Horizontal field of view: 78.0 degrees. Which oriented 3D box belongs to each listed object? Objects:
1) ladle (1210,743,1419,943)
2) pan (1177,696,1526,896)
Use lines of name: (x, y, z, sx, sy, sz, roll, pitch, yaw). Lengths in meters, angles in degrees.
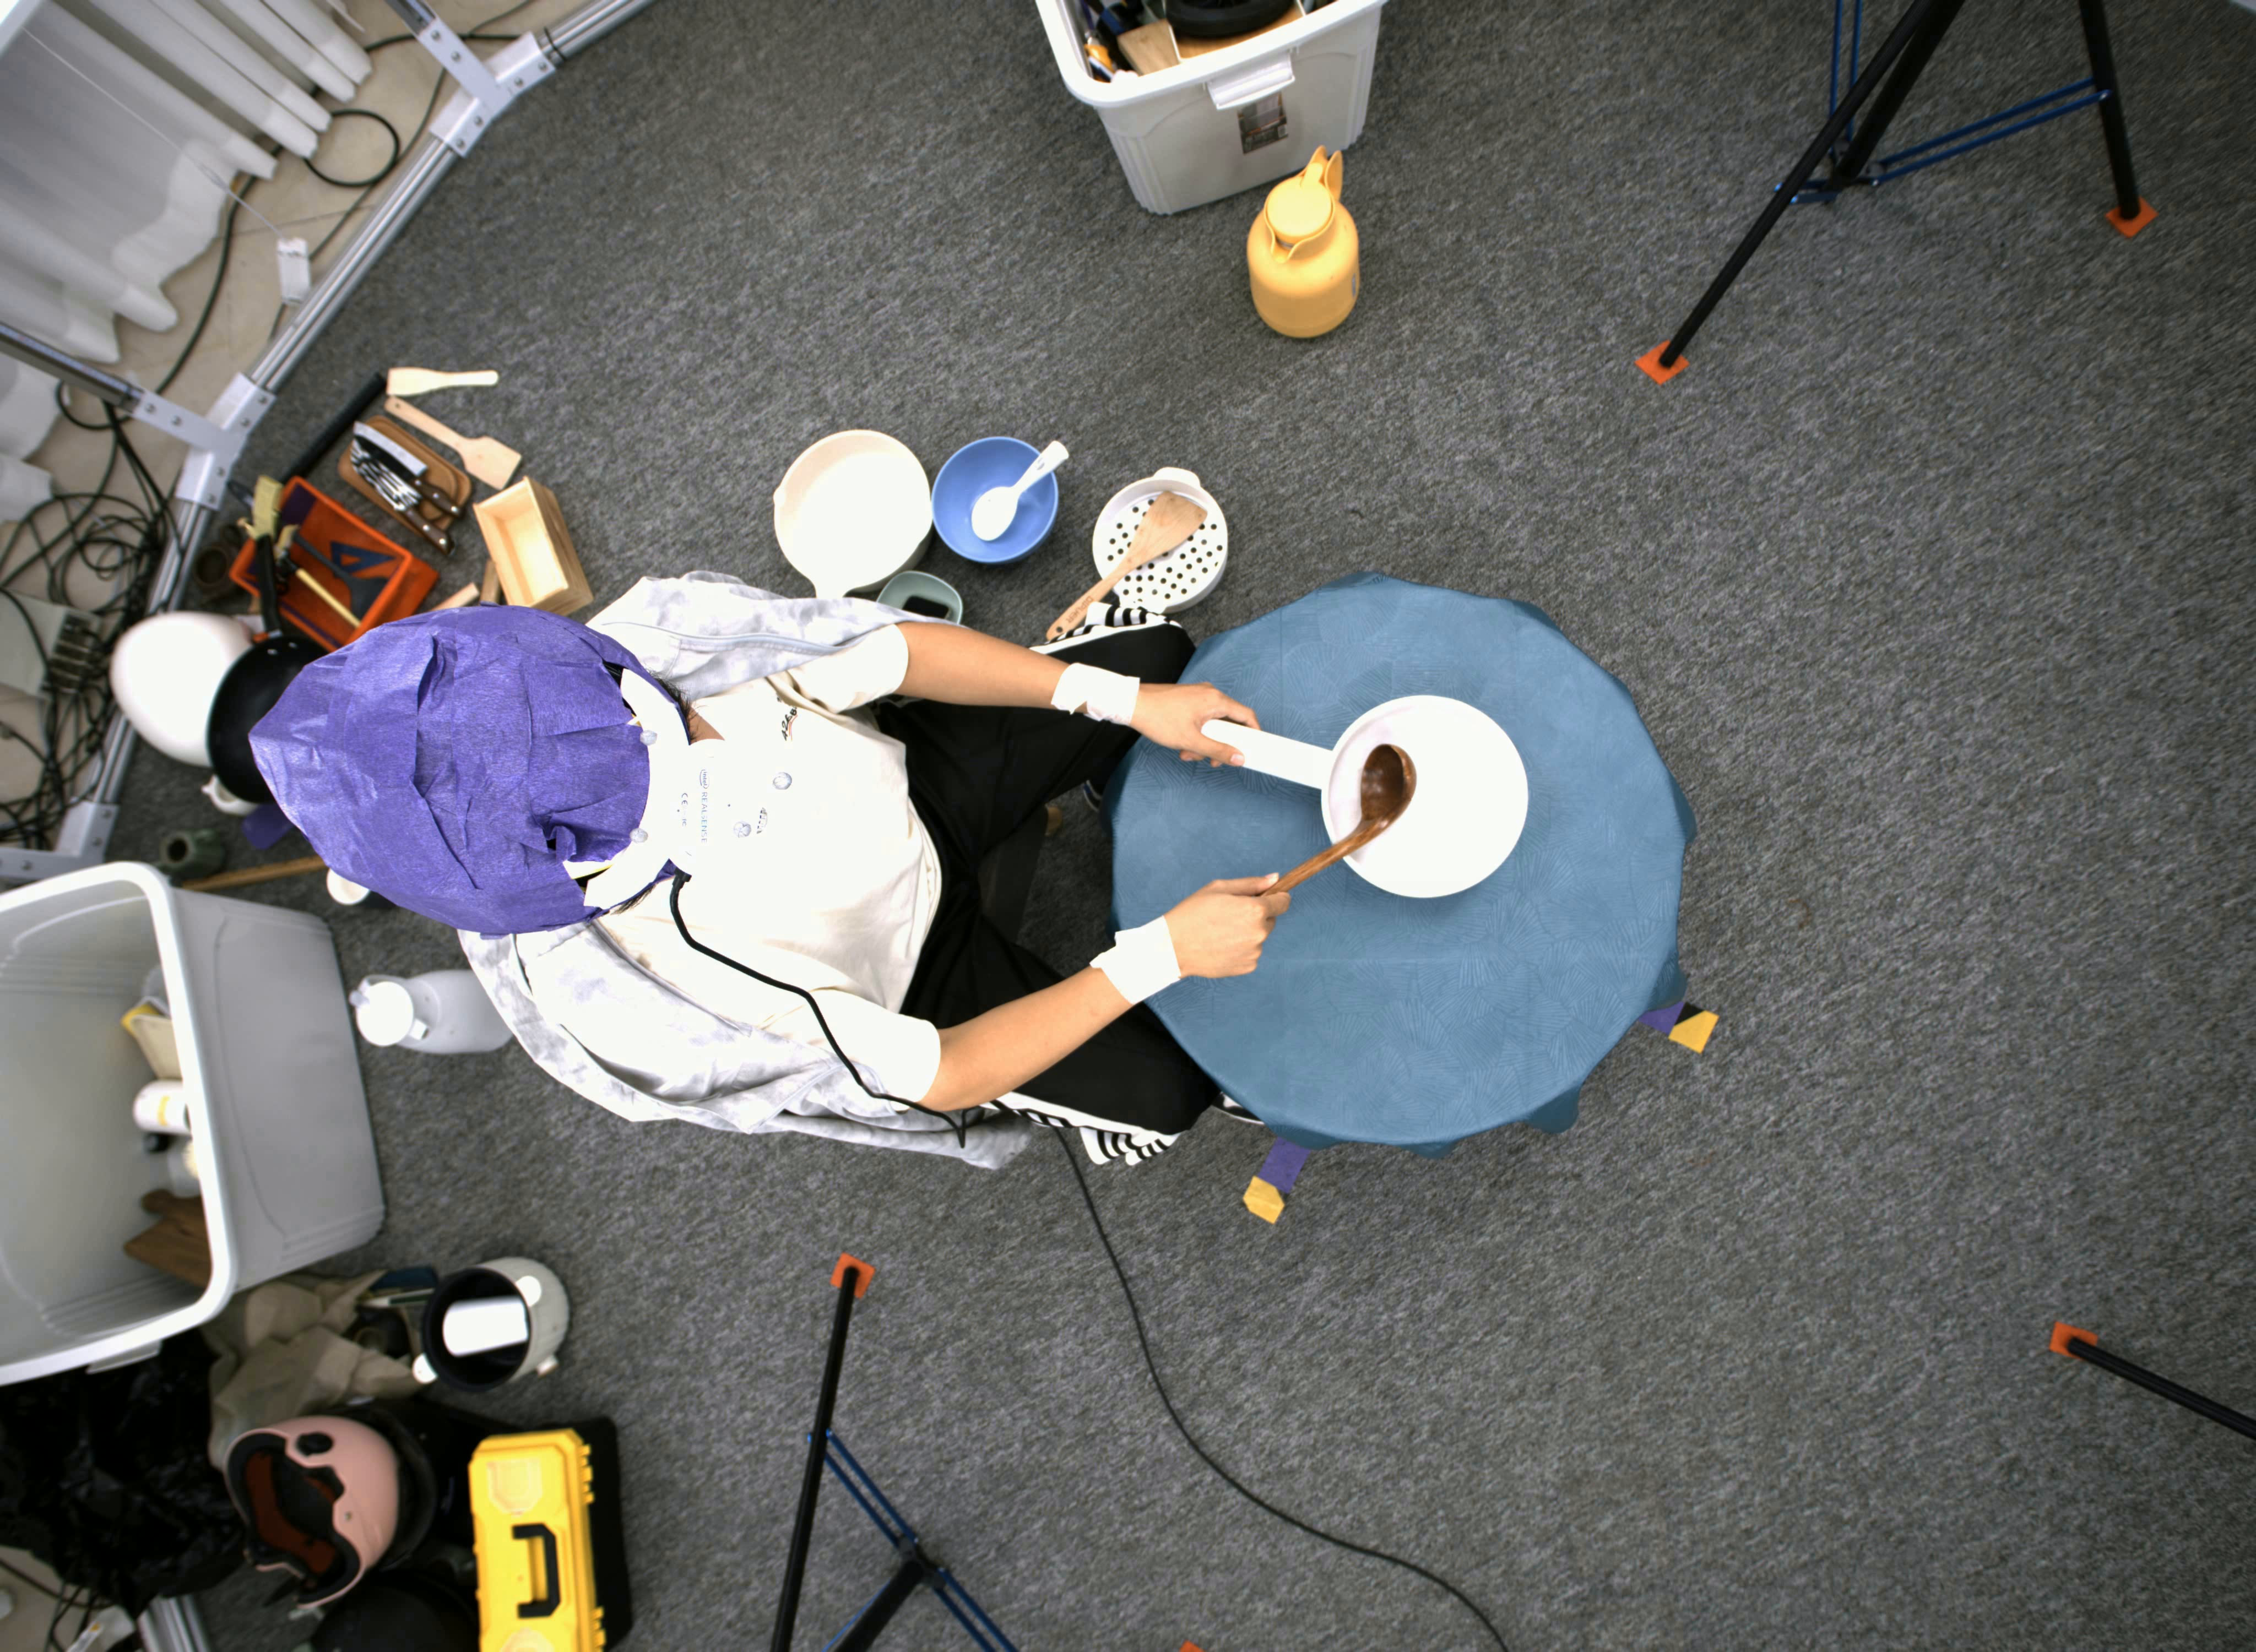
ladle: (0.175, 0.010, 1.341, 0.271, 0.083, 0.076, -31, 88, -16)
pan: (0.227, -0.049, 1.423, 0.355, 0.102, 0.201, 17, 90, 12)
